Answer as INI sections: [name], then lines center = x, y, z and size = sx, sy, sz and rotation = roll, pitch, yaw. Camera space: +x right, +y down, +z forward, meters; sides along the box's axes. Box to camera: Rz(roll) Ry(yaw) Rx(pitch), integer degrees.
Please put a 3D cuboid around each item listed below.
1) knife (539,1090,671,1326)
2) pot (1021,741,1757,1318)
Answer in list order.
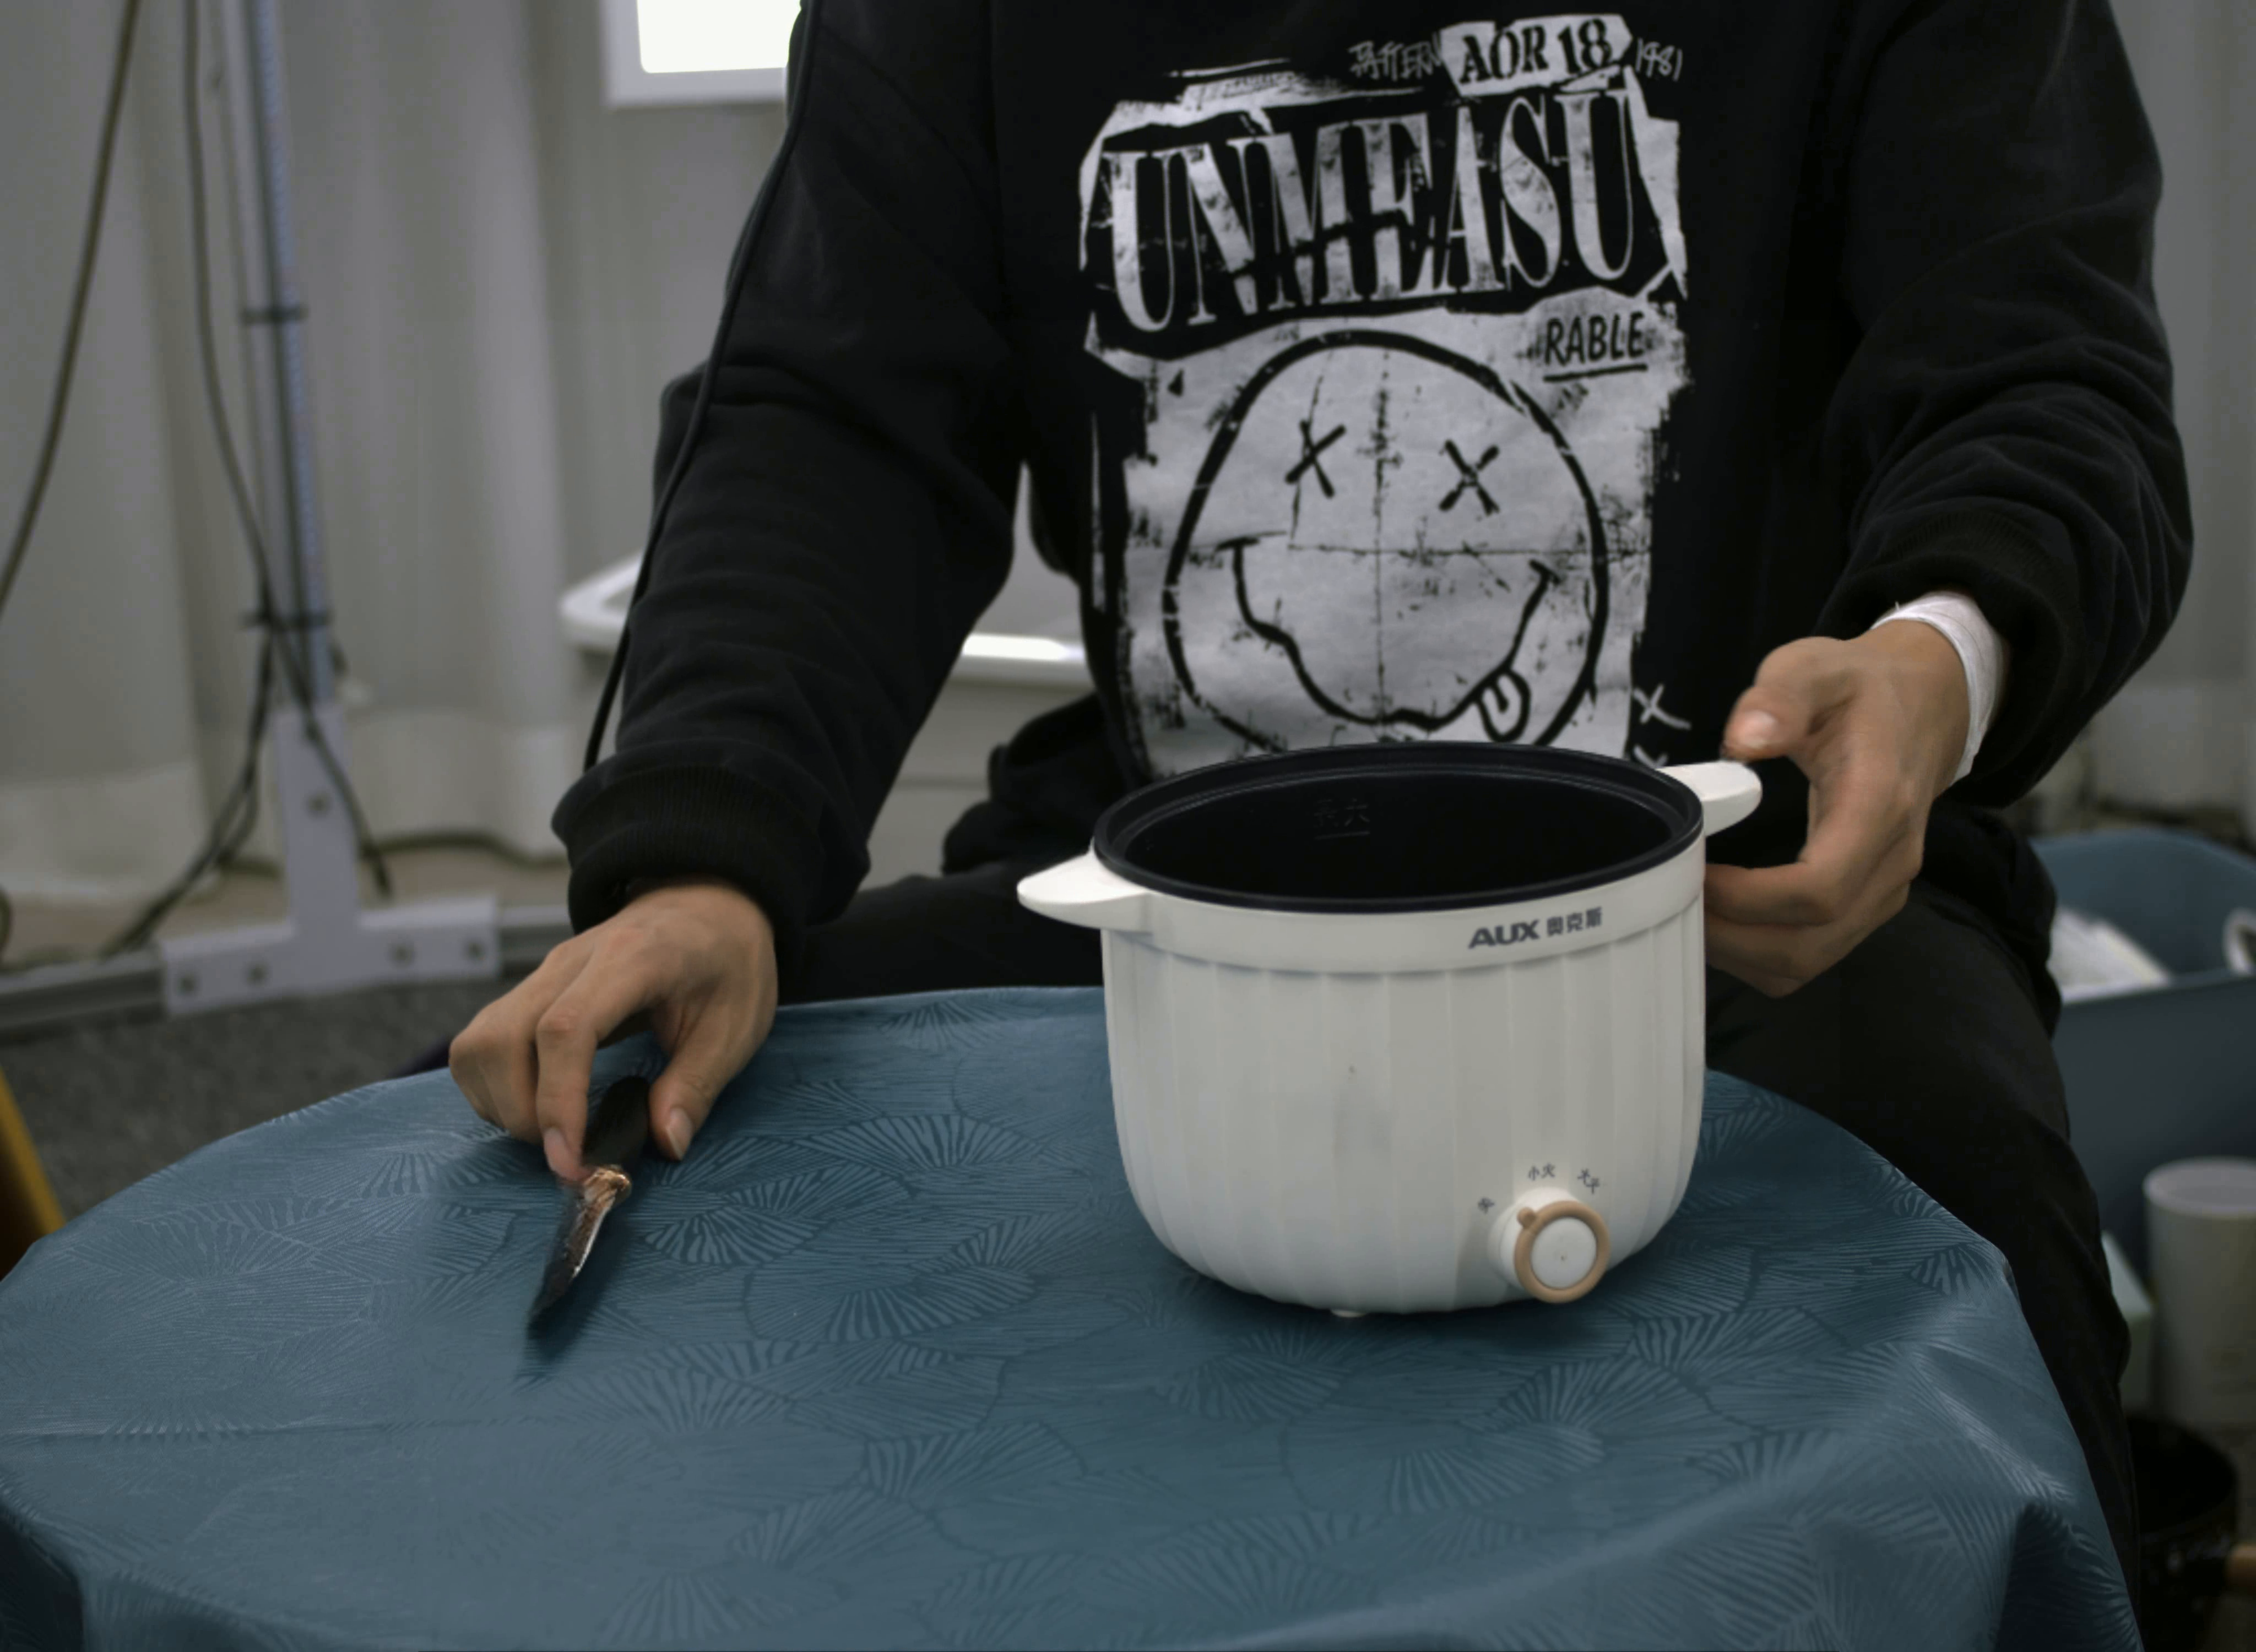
[knife]
center = -0.165, 0.119, 1.695
size = 0.026, 0.017, 0.227
rotation = -20, 12, 8
[pot]
center = 0.086, 0.062, 1.626
size = 0.239, 0.142, 0.192
rotation = -10, 13, -22
